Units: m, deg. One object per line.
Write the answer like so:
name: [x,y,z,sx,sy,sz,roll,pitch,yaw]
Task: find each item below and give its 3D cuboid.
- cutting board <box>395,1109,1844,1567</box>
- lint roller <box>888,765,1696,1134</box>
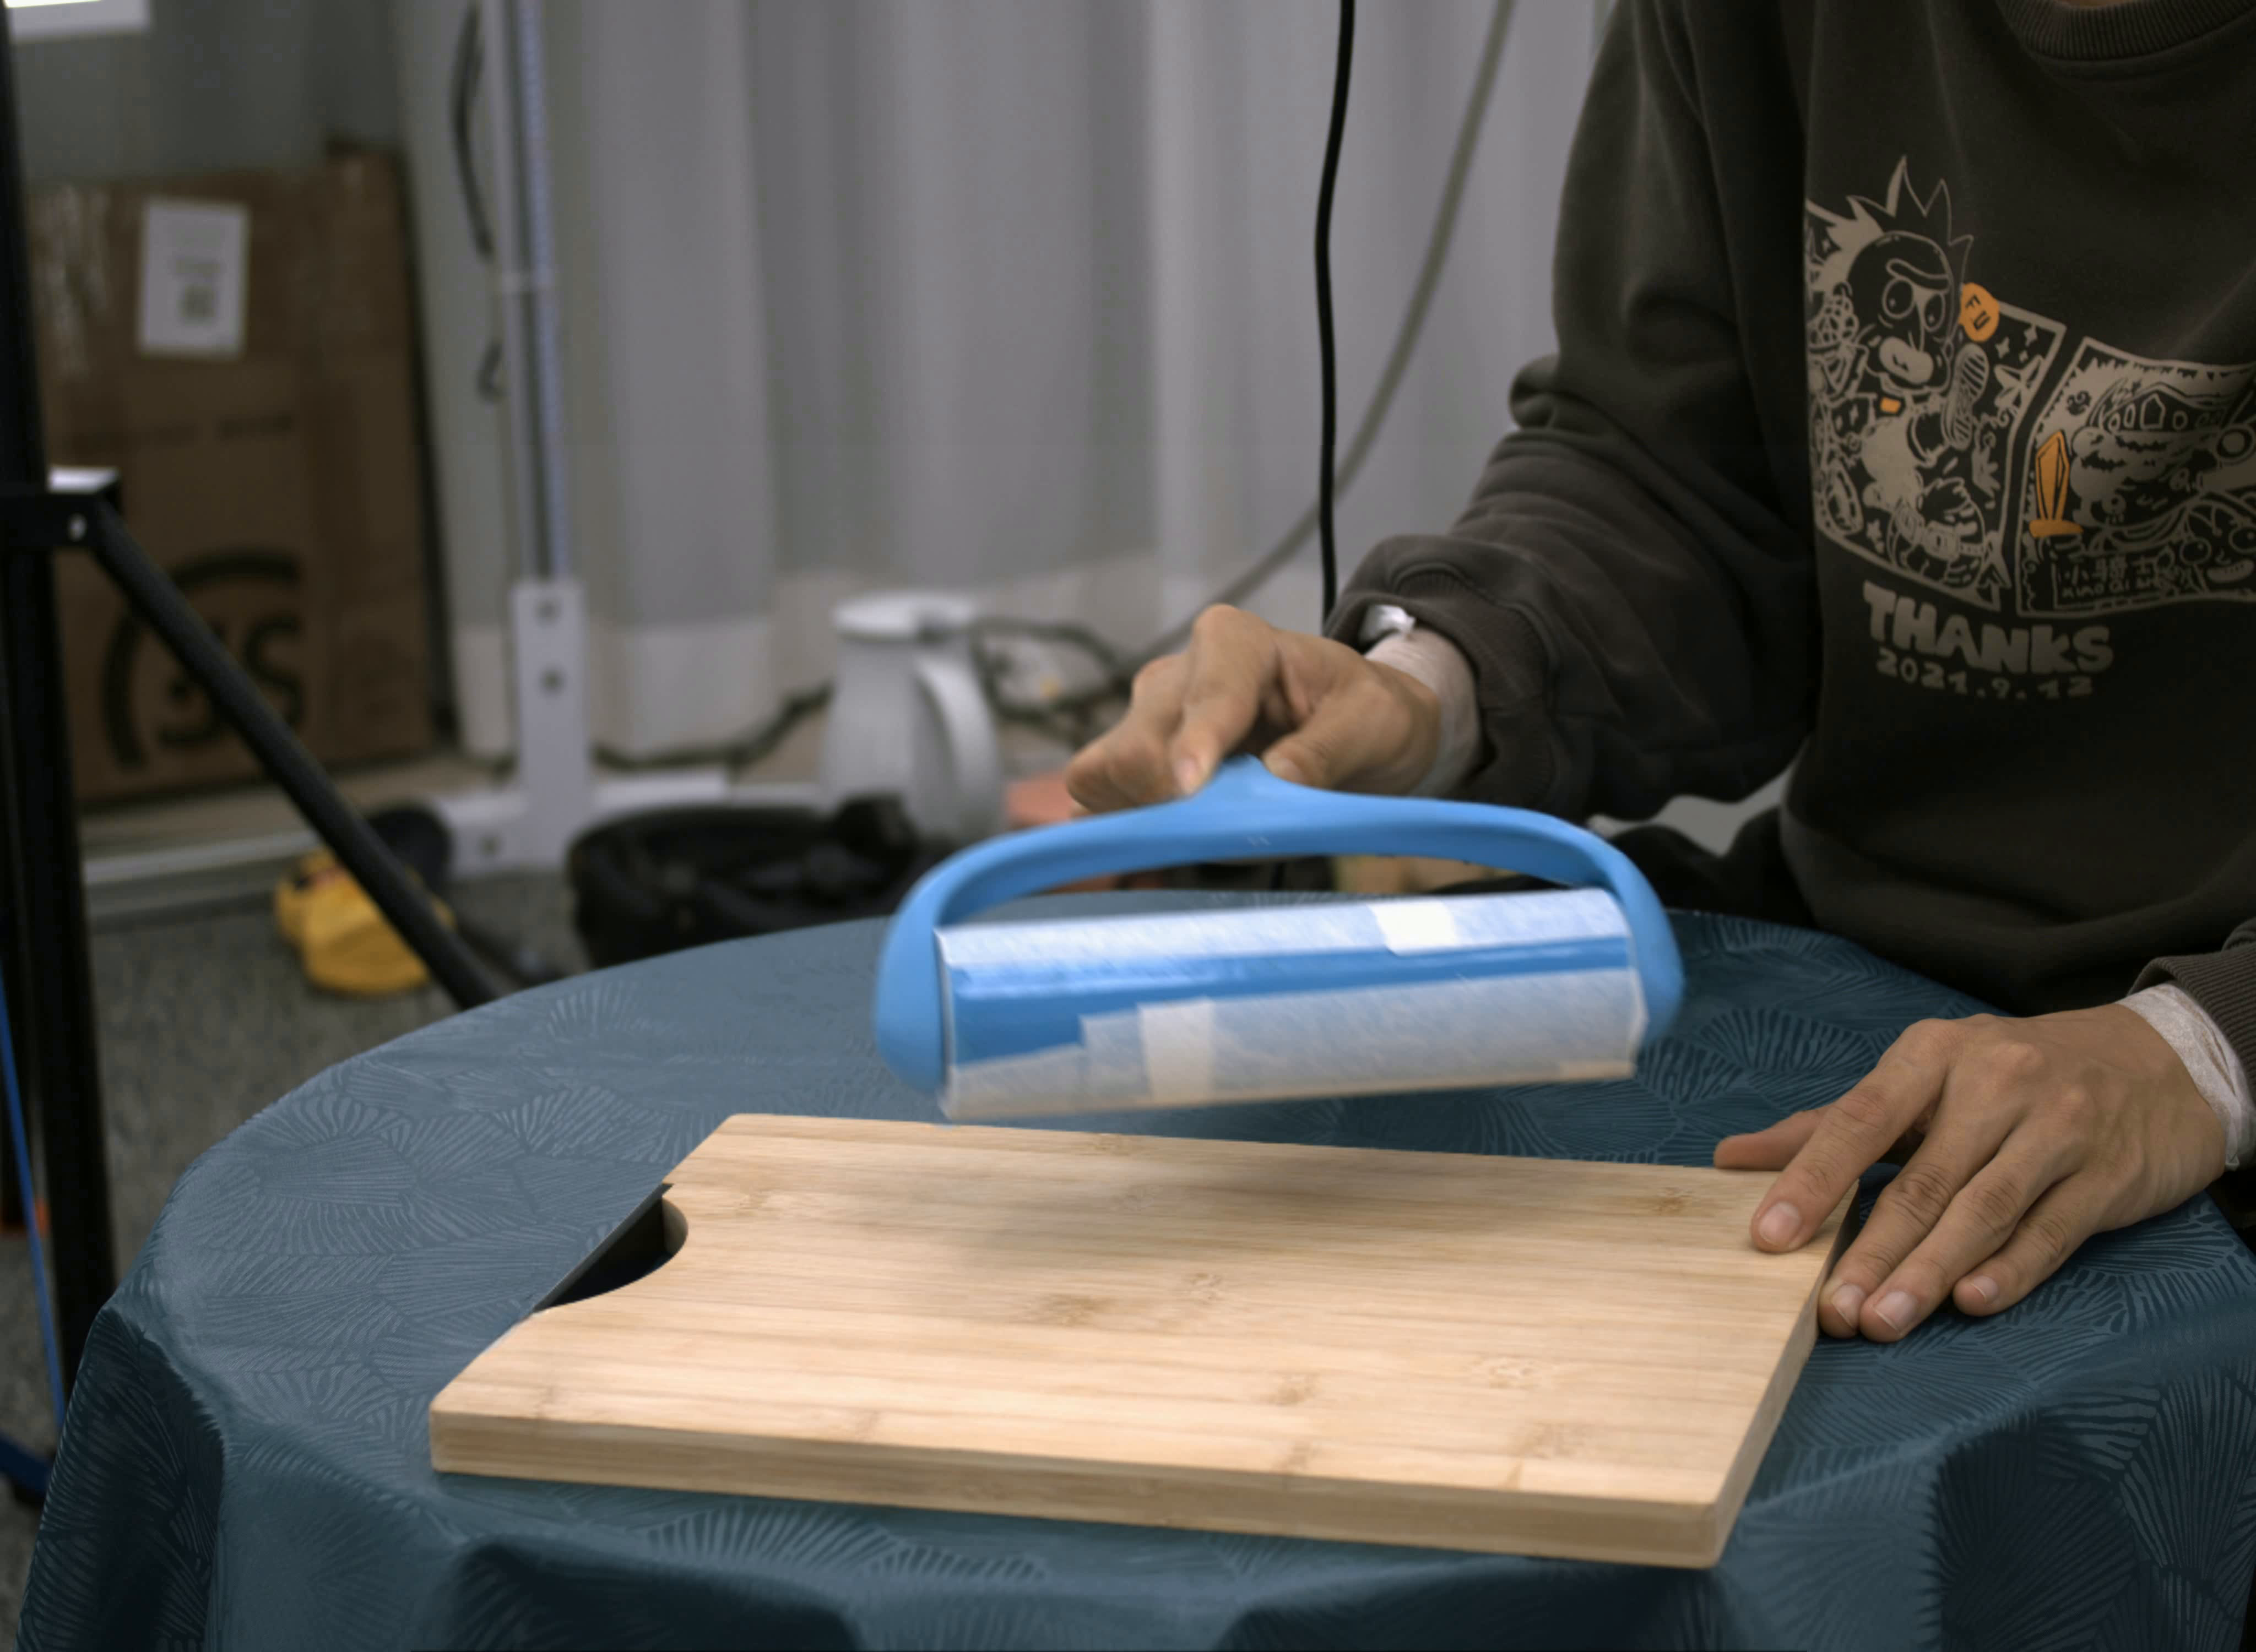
cutting board: [0.006,0.134,1.441,0.352,0.023,0.248,2,16,16]
lint roller: [0.036,0.019,1.528,0.226,0.067,0.183,-6,34,-7]
